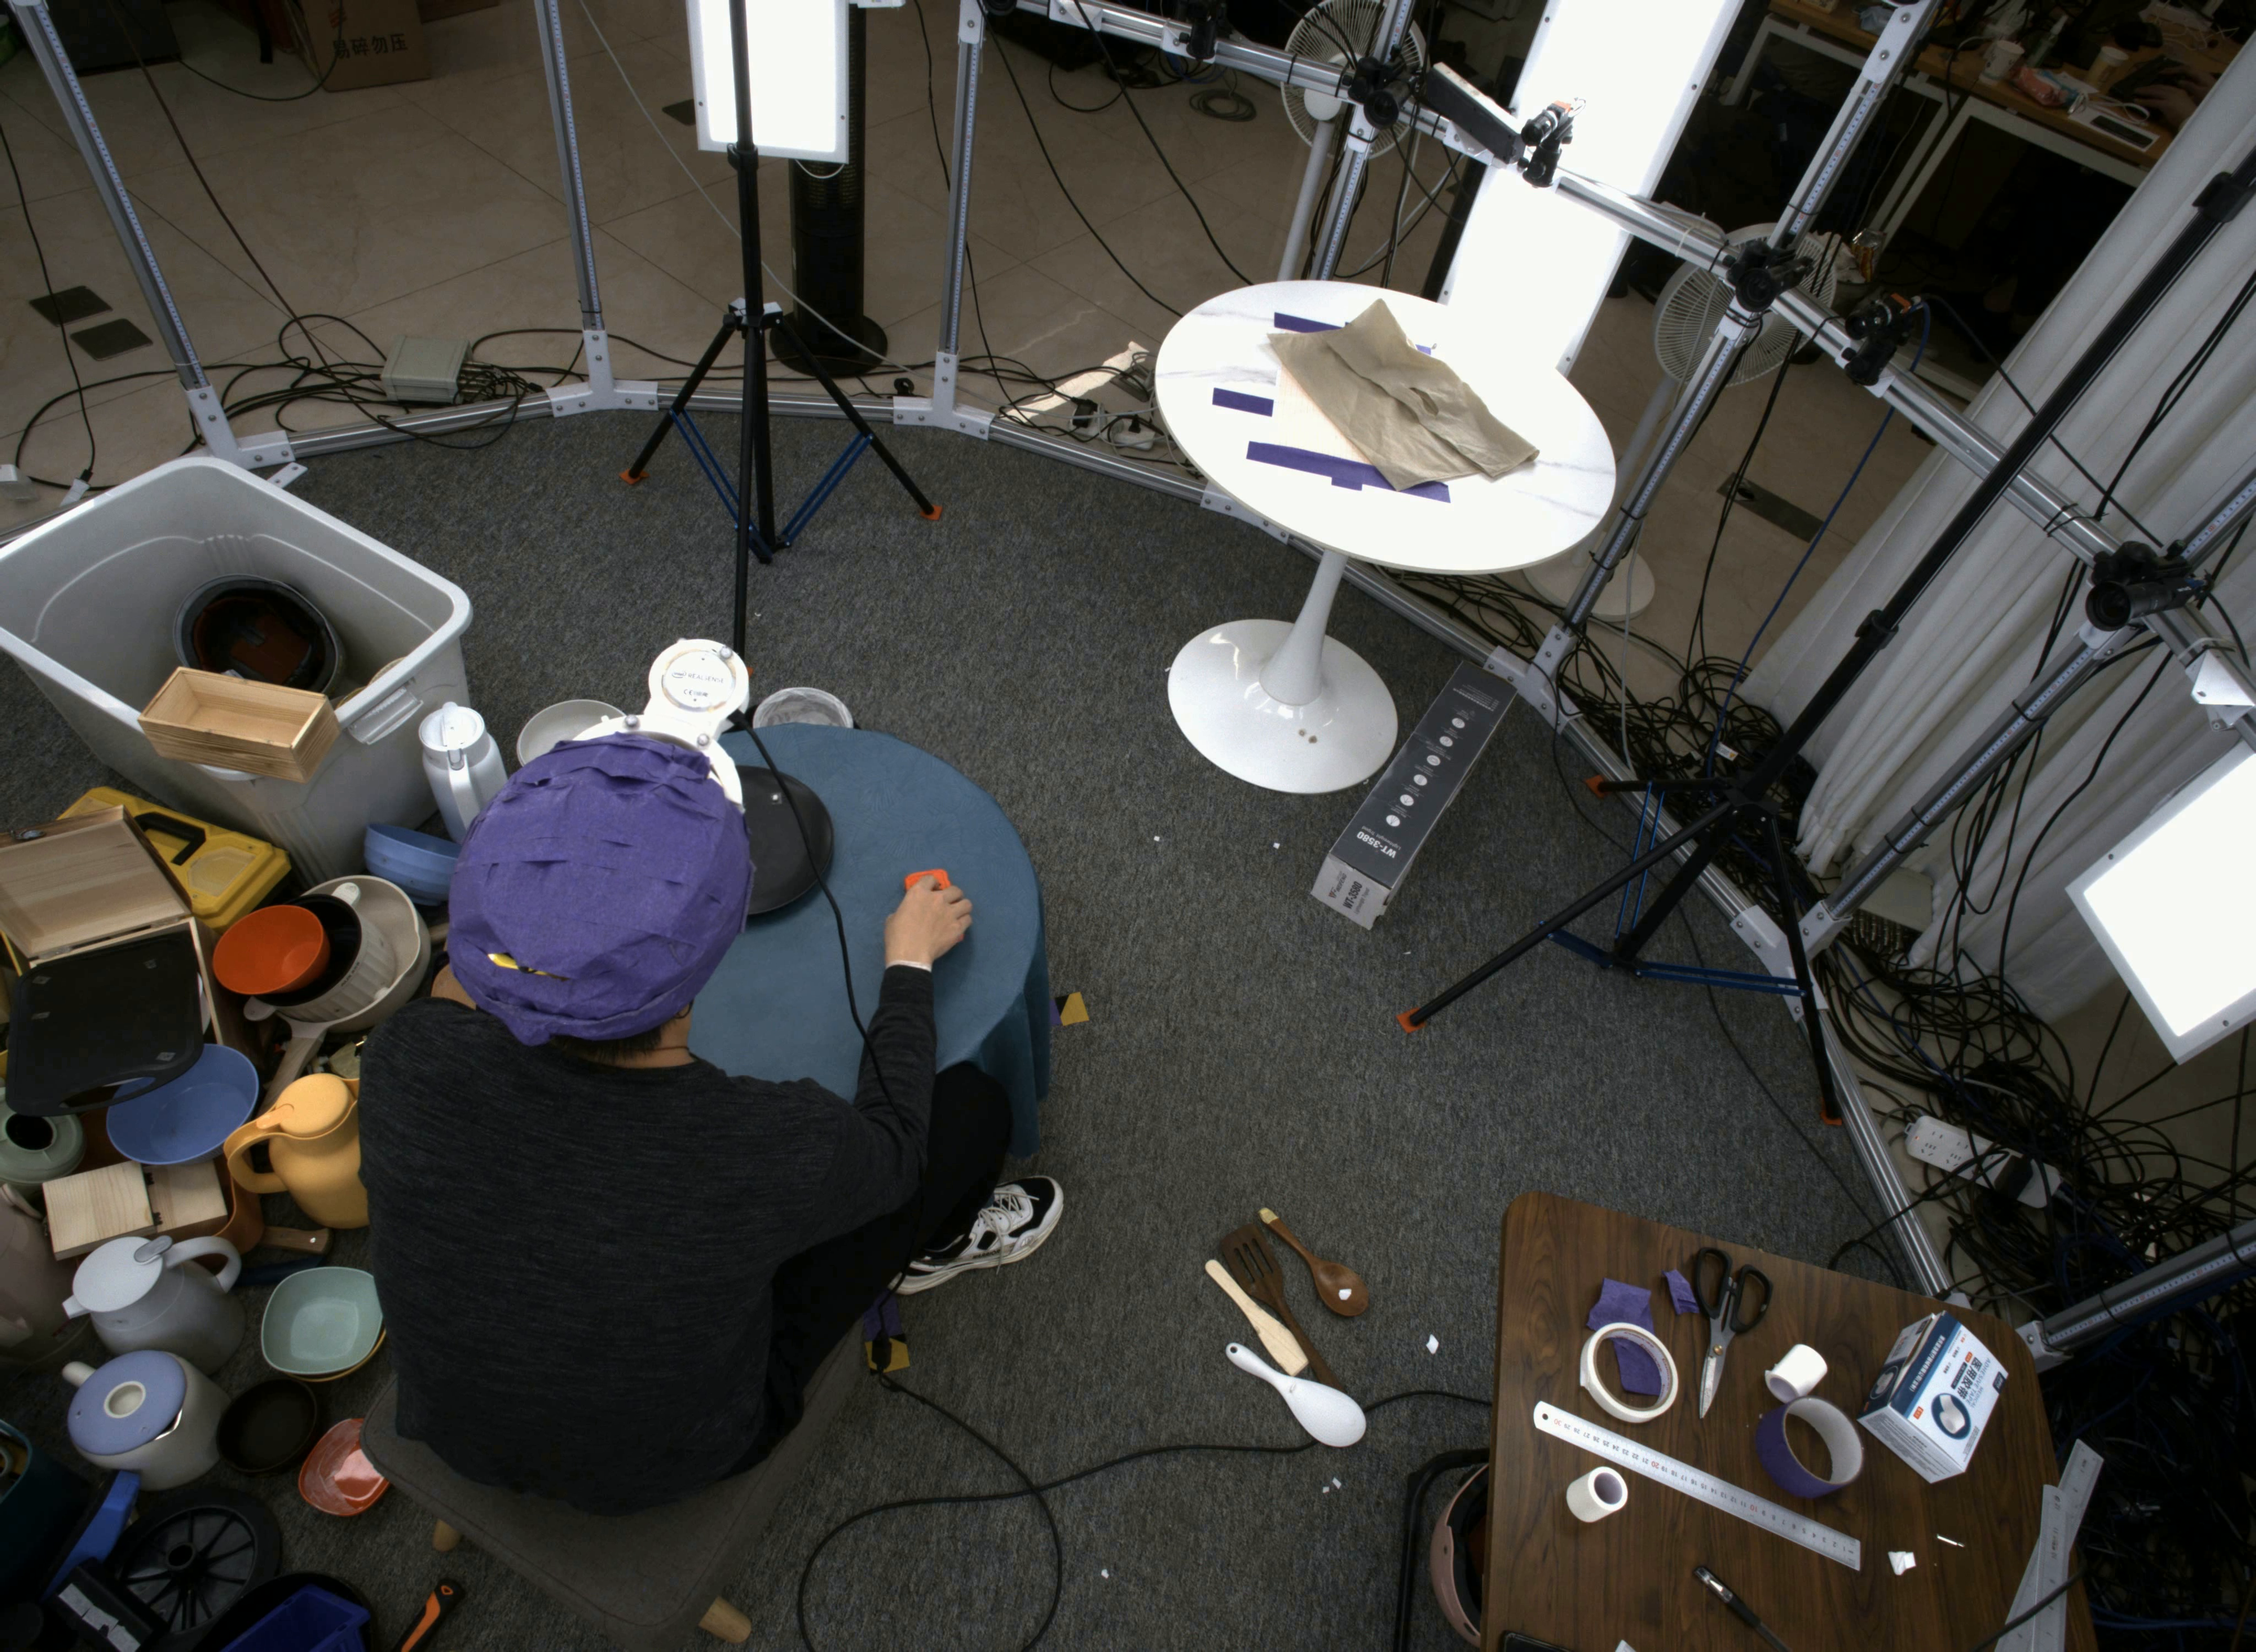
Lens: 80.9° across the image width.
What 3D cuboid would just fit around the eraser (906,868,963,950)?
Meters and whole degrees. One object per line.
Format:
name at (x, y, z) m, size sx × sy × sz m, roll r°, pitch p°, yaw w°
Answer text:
eraser at (-0.249, 0.104, 1.671) m, size 0.059 × 0.023 × 0.105 m, roll -8°, pitch 56°, yaw -18°

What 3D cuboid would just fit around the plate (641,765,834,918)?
plate at (-0.504, 0.020, 1.668) m, size 0.244 × 0.024 × 0.240 m, roll 8°, pitch 52°, yaw -9°
